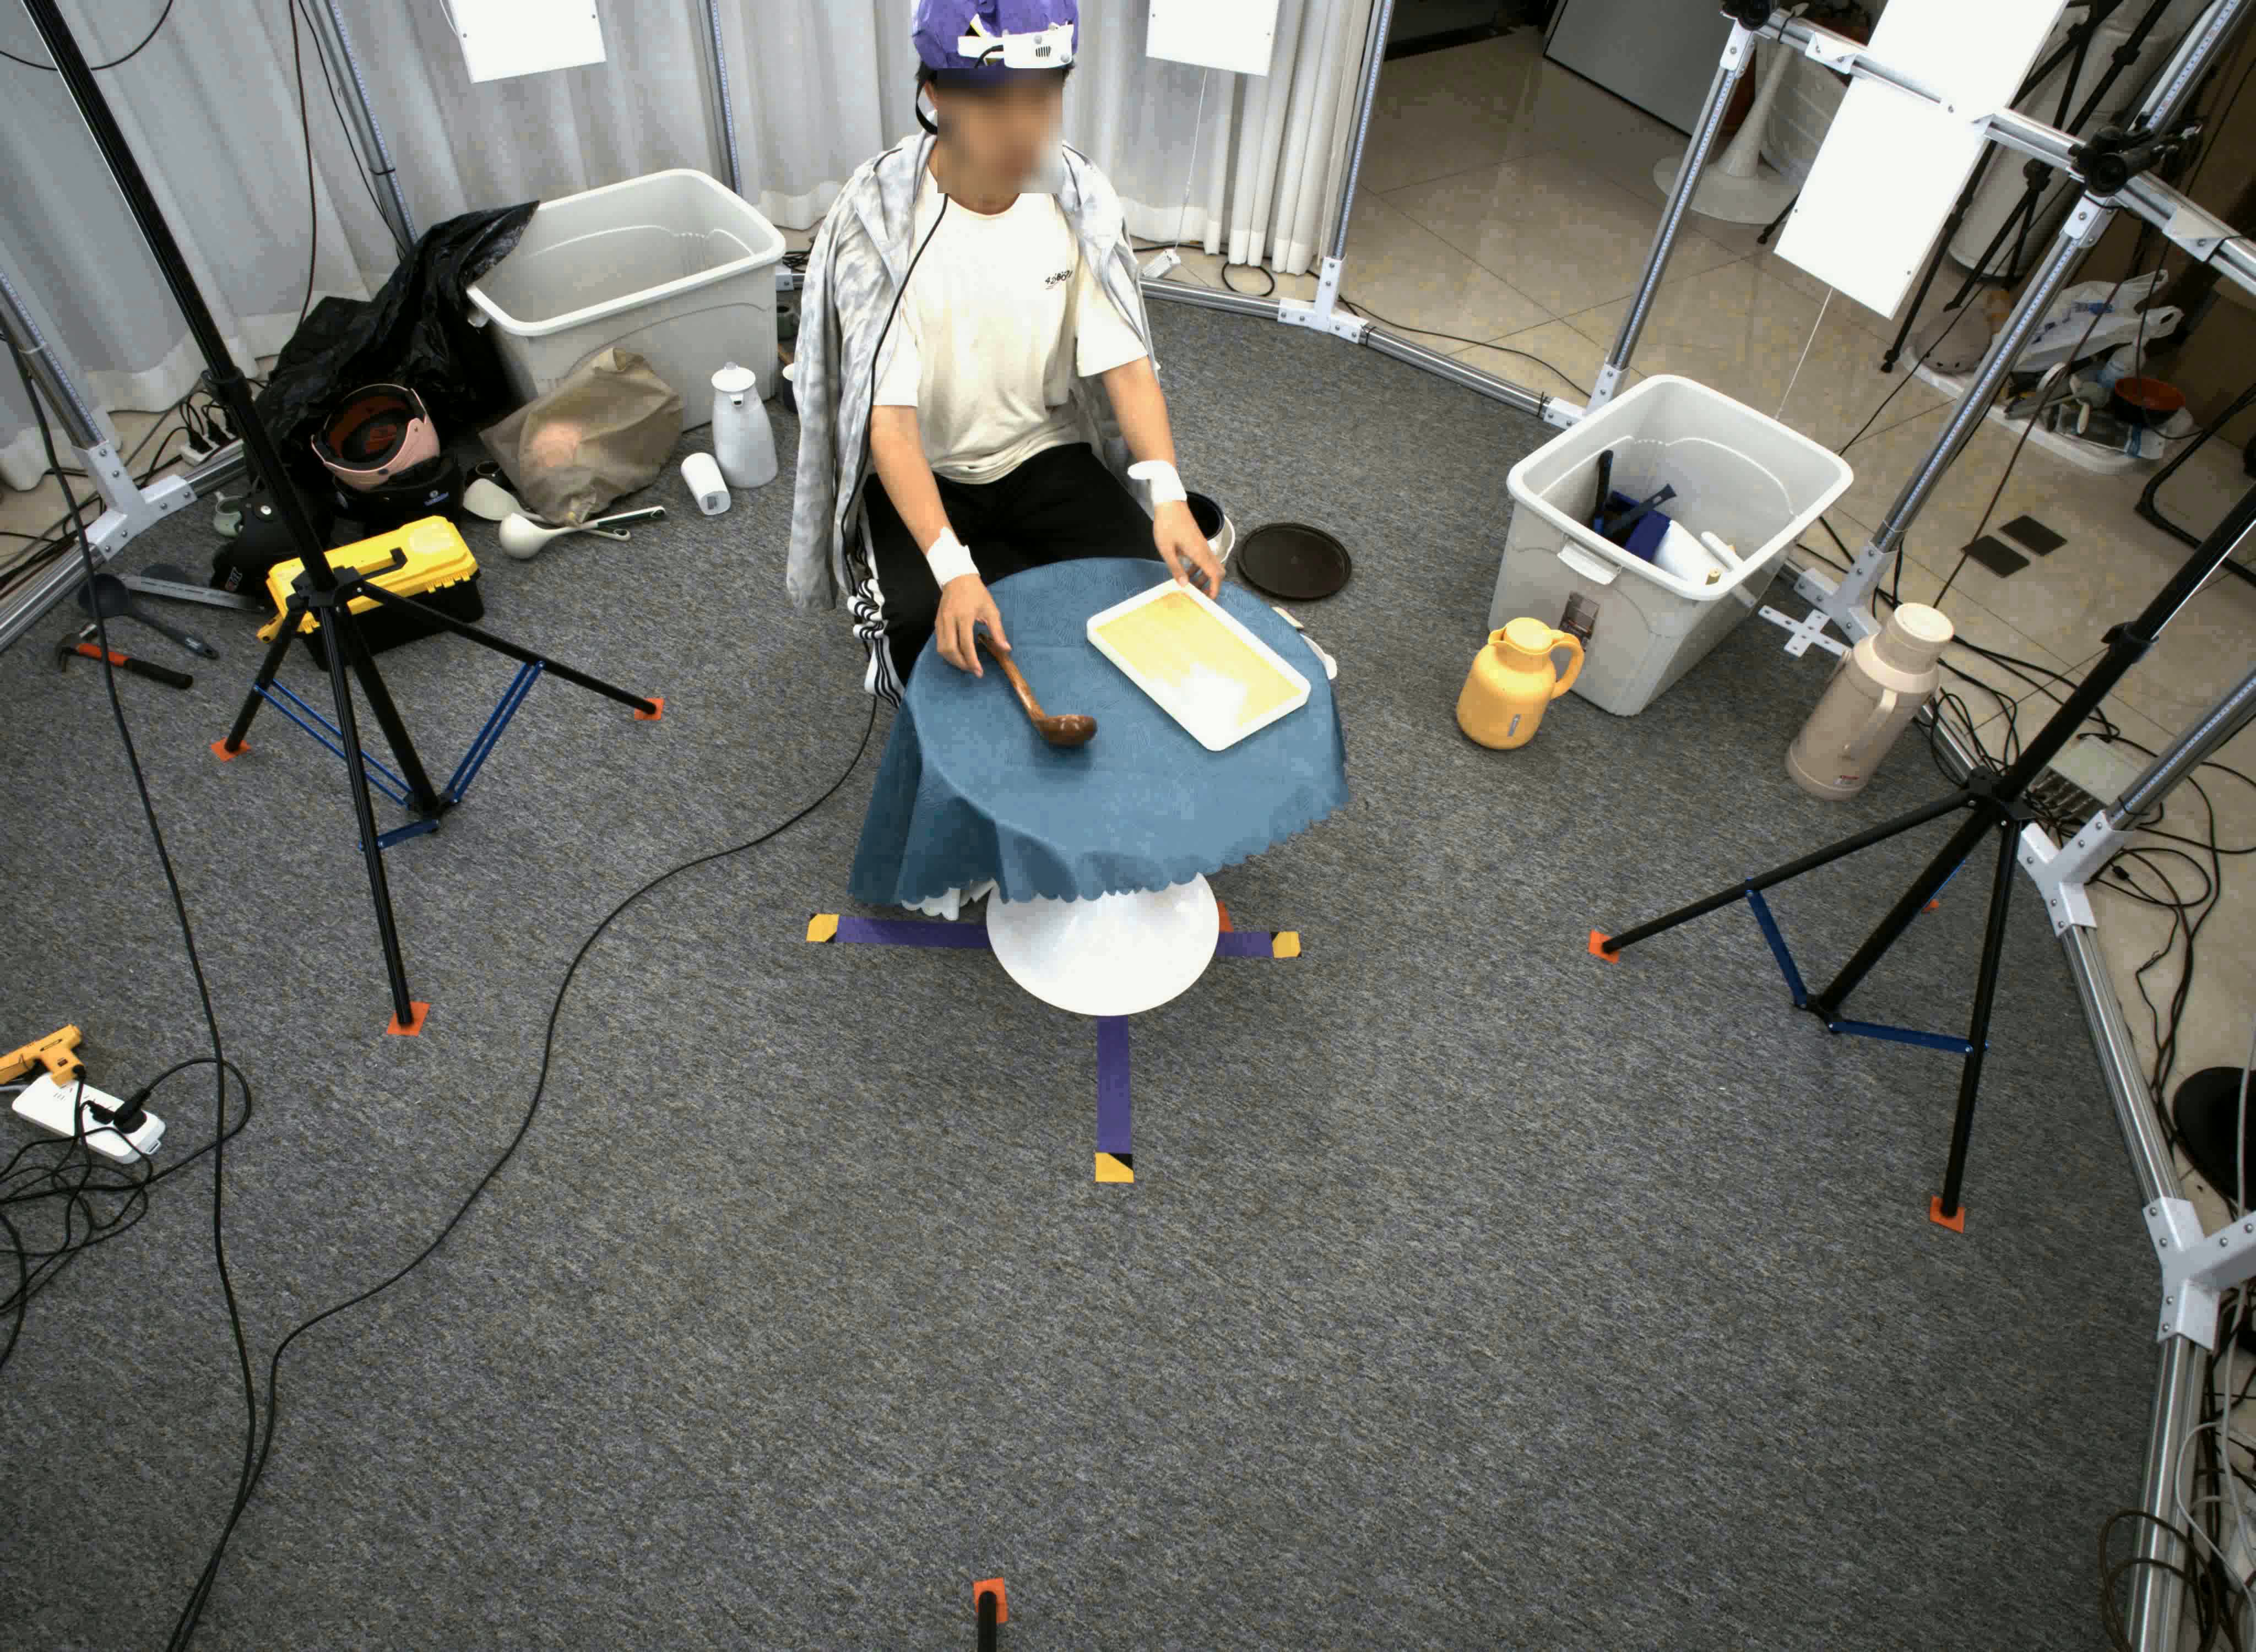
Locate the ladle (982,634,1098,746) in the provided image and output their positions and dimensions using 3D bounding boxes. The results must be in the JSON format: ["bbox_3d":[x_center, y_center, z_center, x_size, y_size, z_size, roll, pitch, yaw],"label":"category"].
[{"bbox_3d":[-0.129,-0.206,1.785,0.081,0.076,0.280,19,30,-46],"label":"ladle"}]

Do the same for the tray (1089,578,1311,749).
[{"bbox_3d":[0.101,-0.241,1.859,0.193,0.027,0.306,-29,56,-26],"label":"tray"}]
